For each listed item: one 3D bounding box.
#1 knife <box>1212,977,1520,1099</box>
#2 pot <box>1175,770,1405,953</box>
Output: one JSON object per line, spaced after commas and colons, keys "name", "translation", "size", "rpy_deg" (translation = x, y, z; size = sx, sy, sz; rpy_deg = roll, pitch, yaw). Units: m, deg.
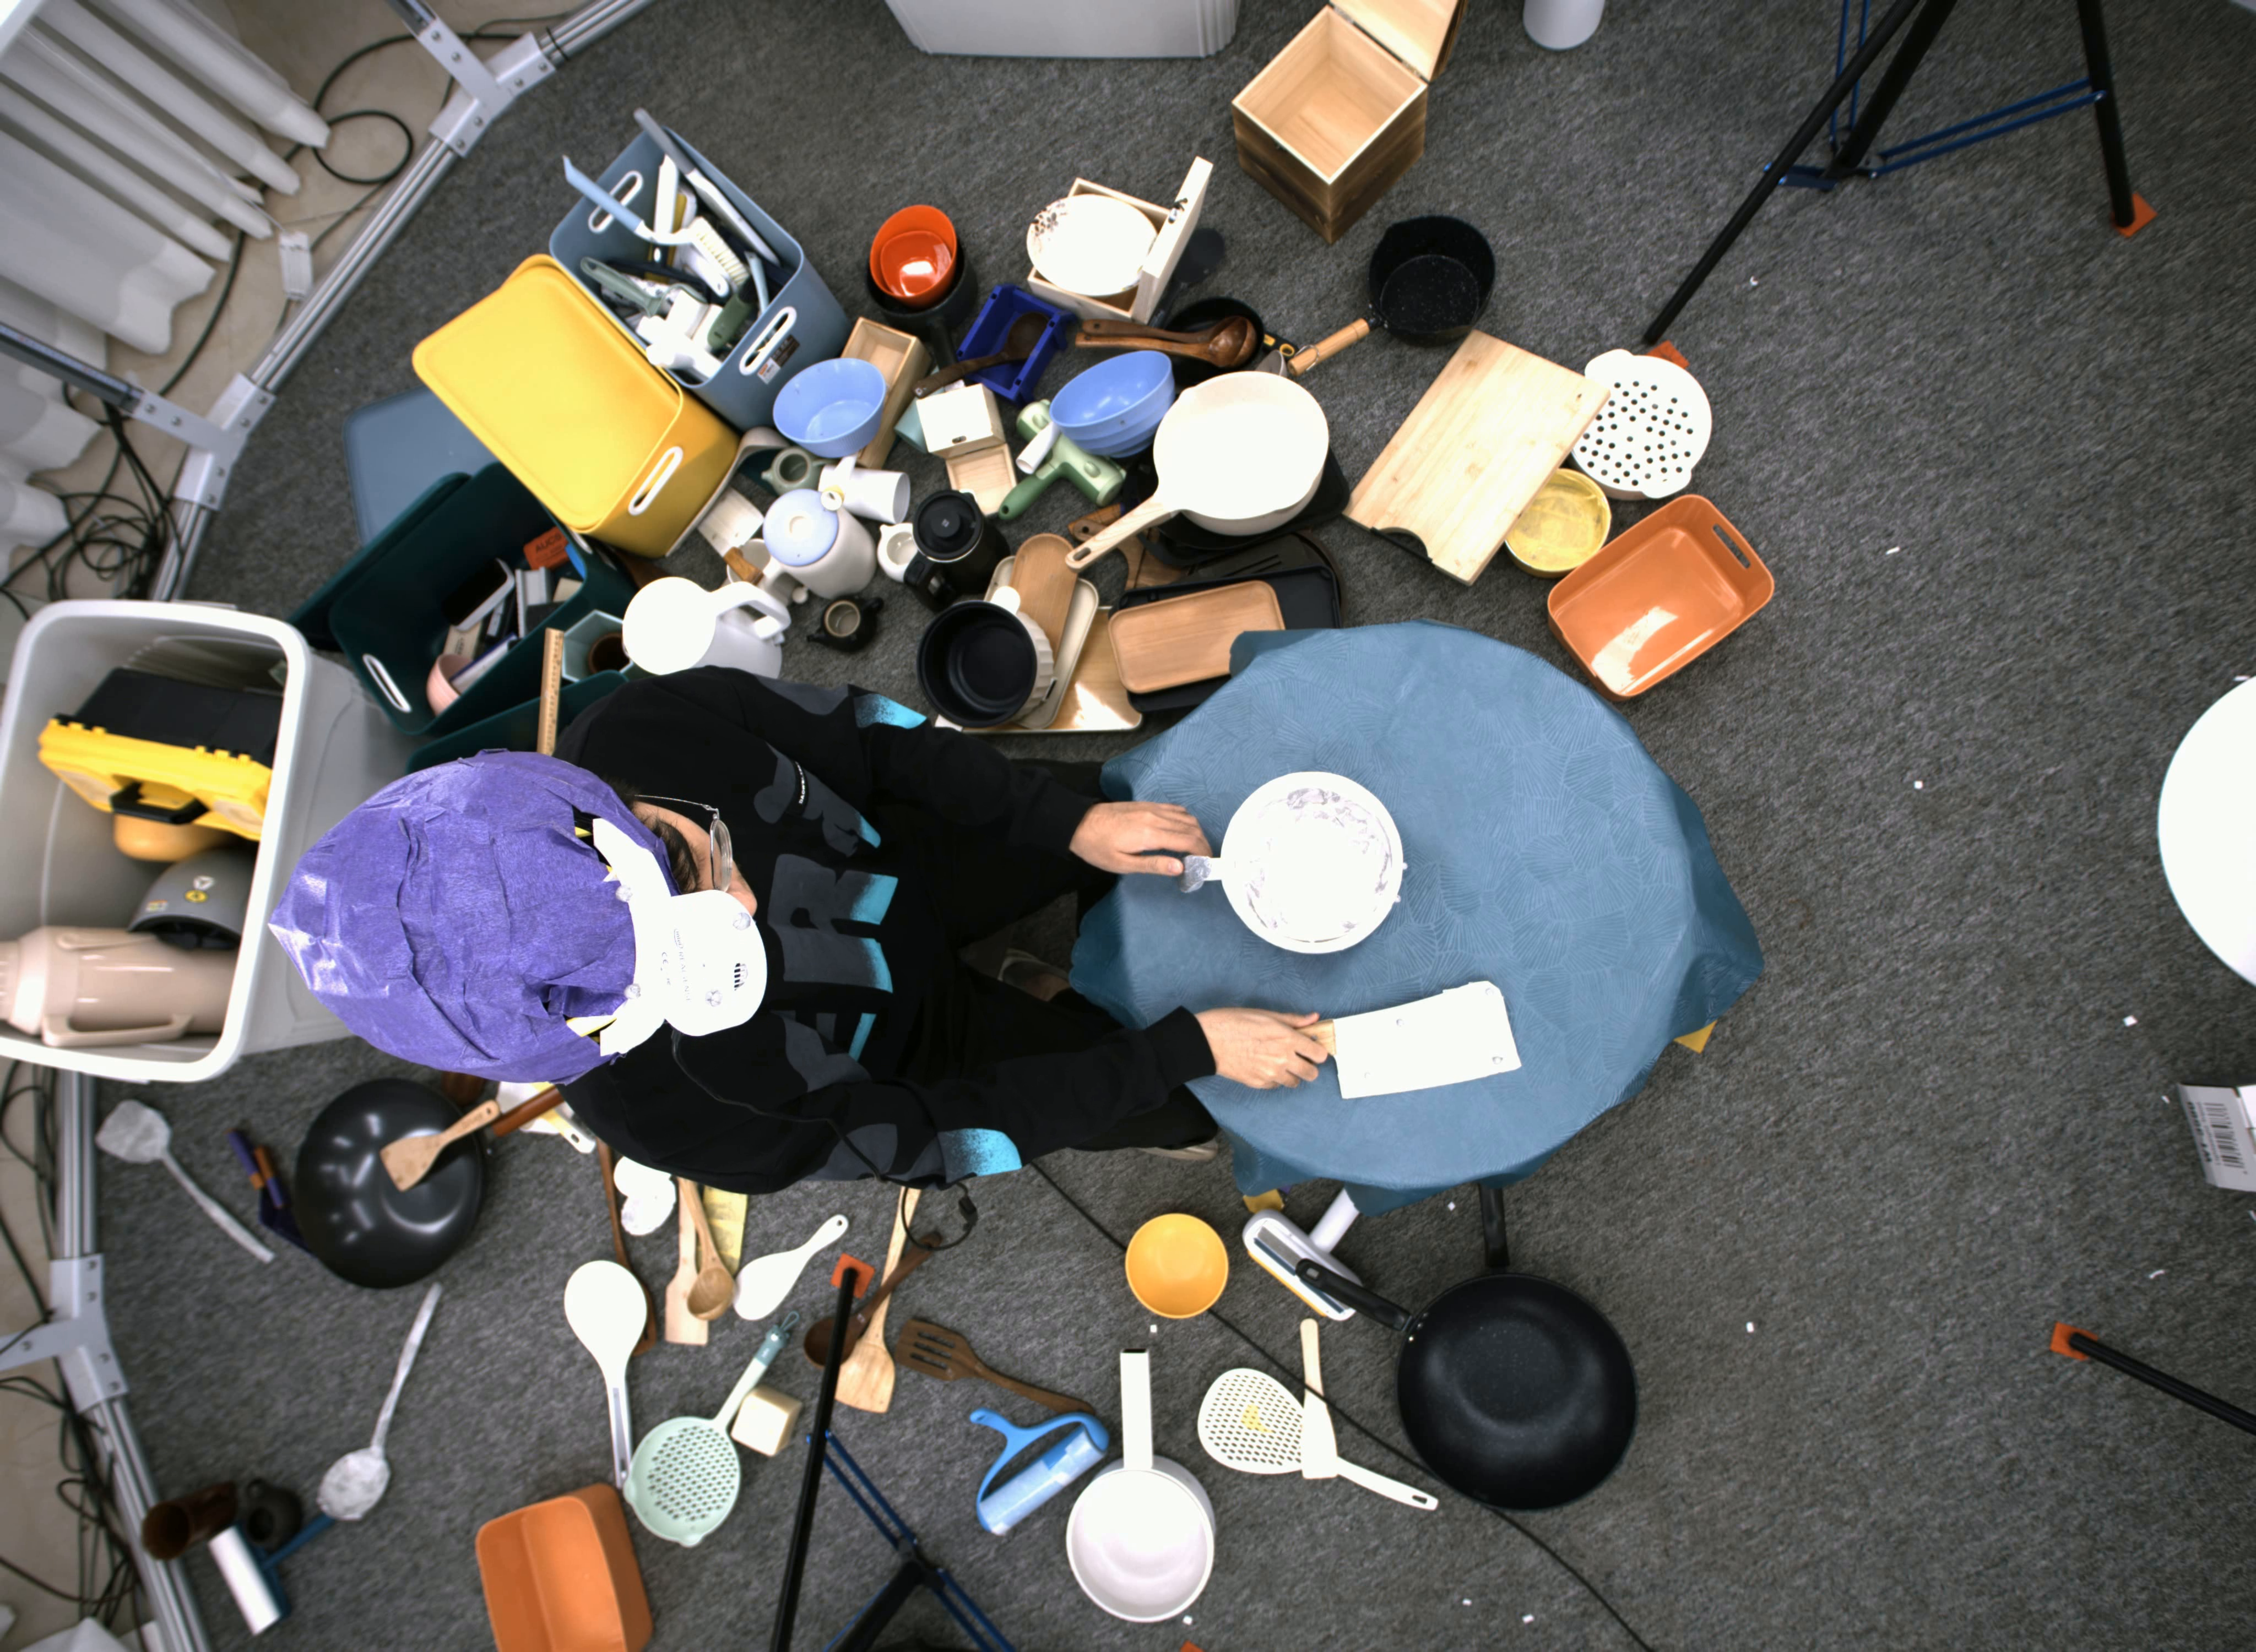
{"name": "knife", "translation": [0.244, 0.226, 1.440], "size": [0.317, 0.021, 0.114], "rpy_deg": [-8, 99, 8]}
{"name": "pot", "translation": [0.161, 0.041, 1.411], "size": [0.234, 0.137, 0.177], "rpy_deg": [-4, 84, 9]}
